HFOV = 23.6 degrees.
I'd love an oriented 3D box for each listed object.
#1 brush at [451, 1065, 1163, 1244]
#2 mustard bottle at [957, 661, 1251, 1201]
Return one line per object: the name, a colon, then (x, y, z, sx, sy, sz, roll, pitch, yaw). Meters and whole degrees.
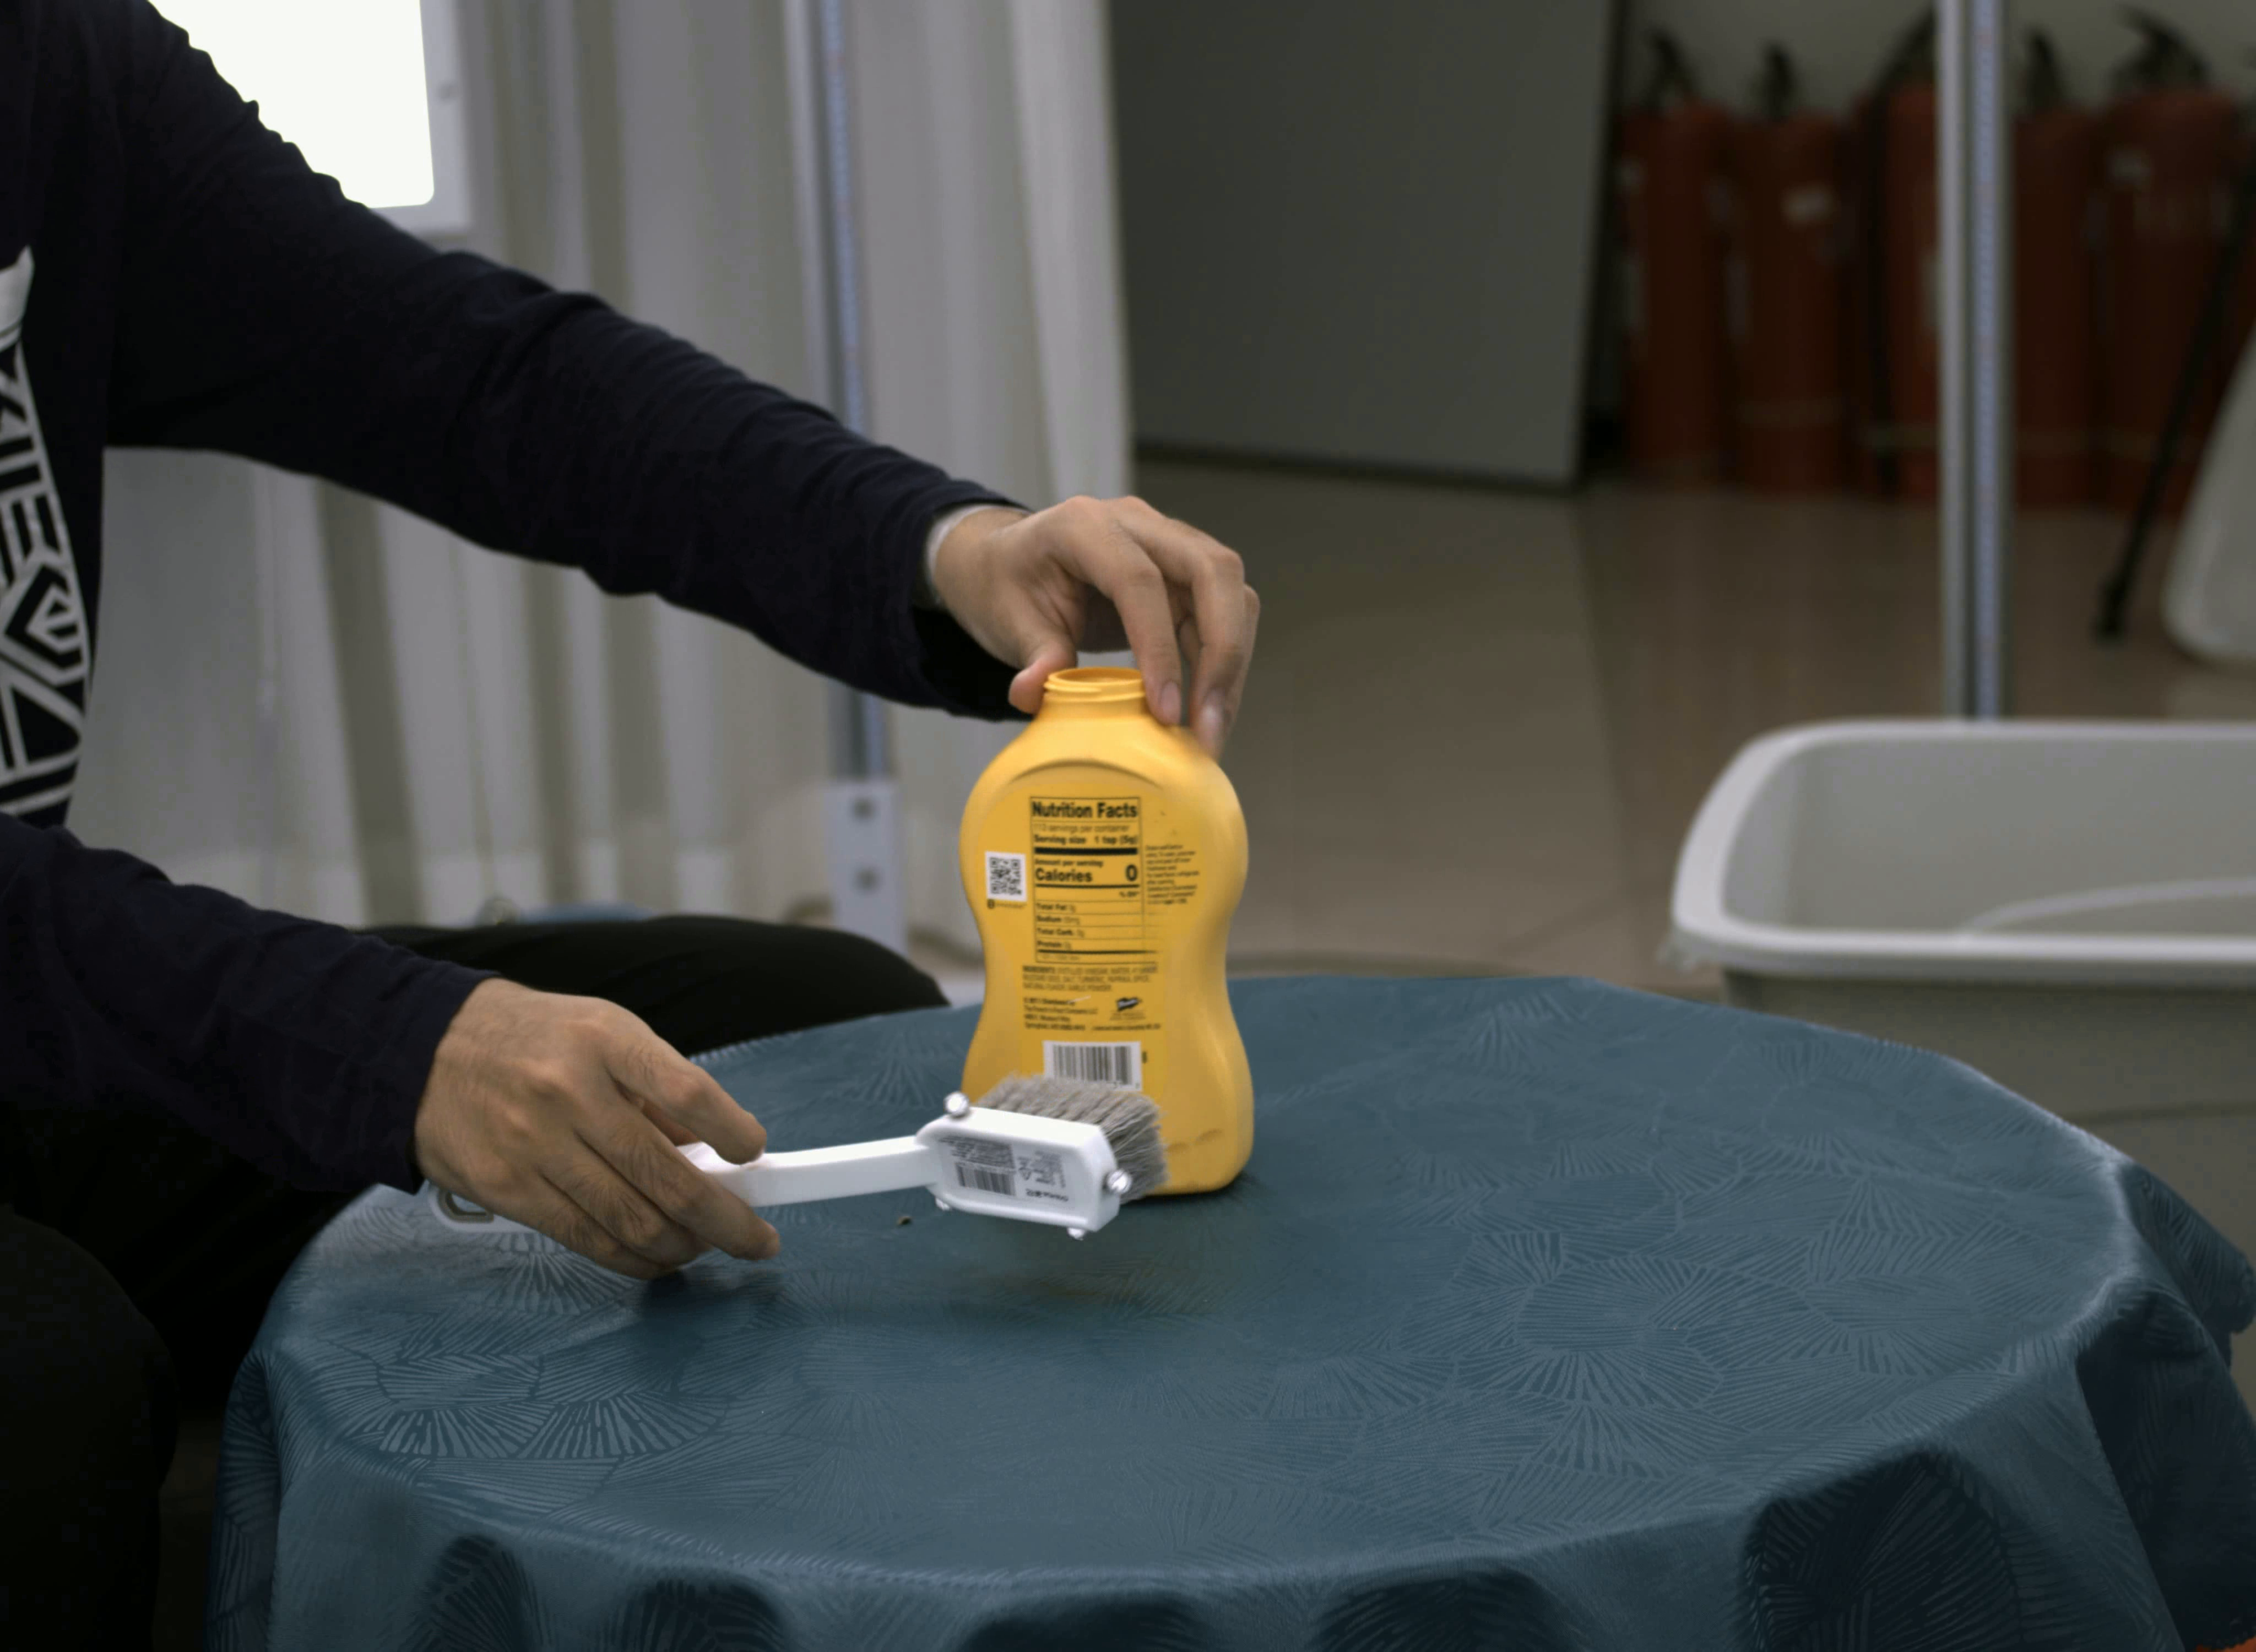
brush: (-0.103, 0.103, 1.705, 0.244, 0.034, 0.050, -2, 51, 27)
mustard bottle: (-0.009, 0.033, 1.769, 0.097, 0.174, 0.059, -1, 8, 12)
